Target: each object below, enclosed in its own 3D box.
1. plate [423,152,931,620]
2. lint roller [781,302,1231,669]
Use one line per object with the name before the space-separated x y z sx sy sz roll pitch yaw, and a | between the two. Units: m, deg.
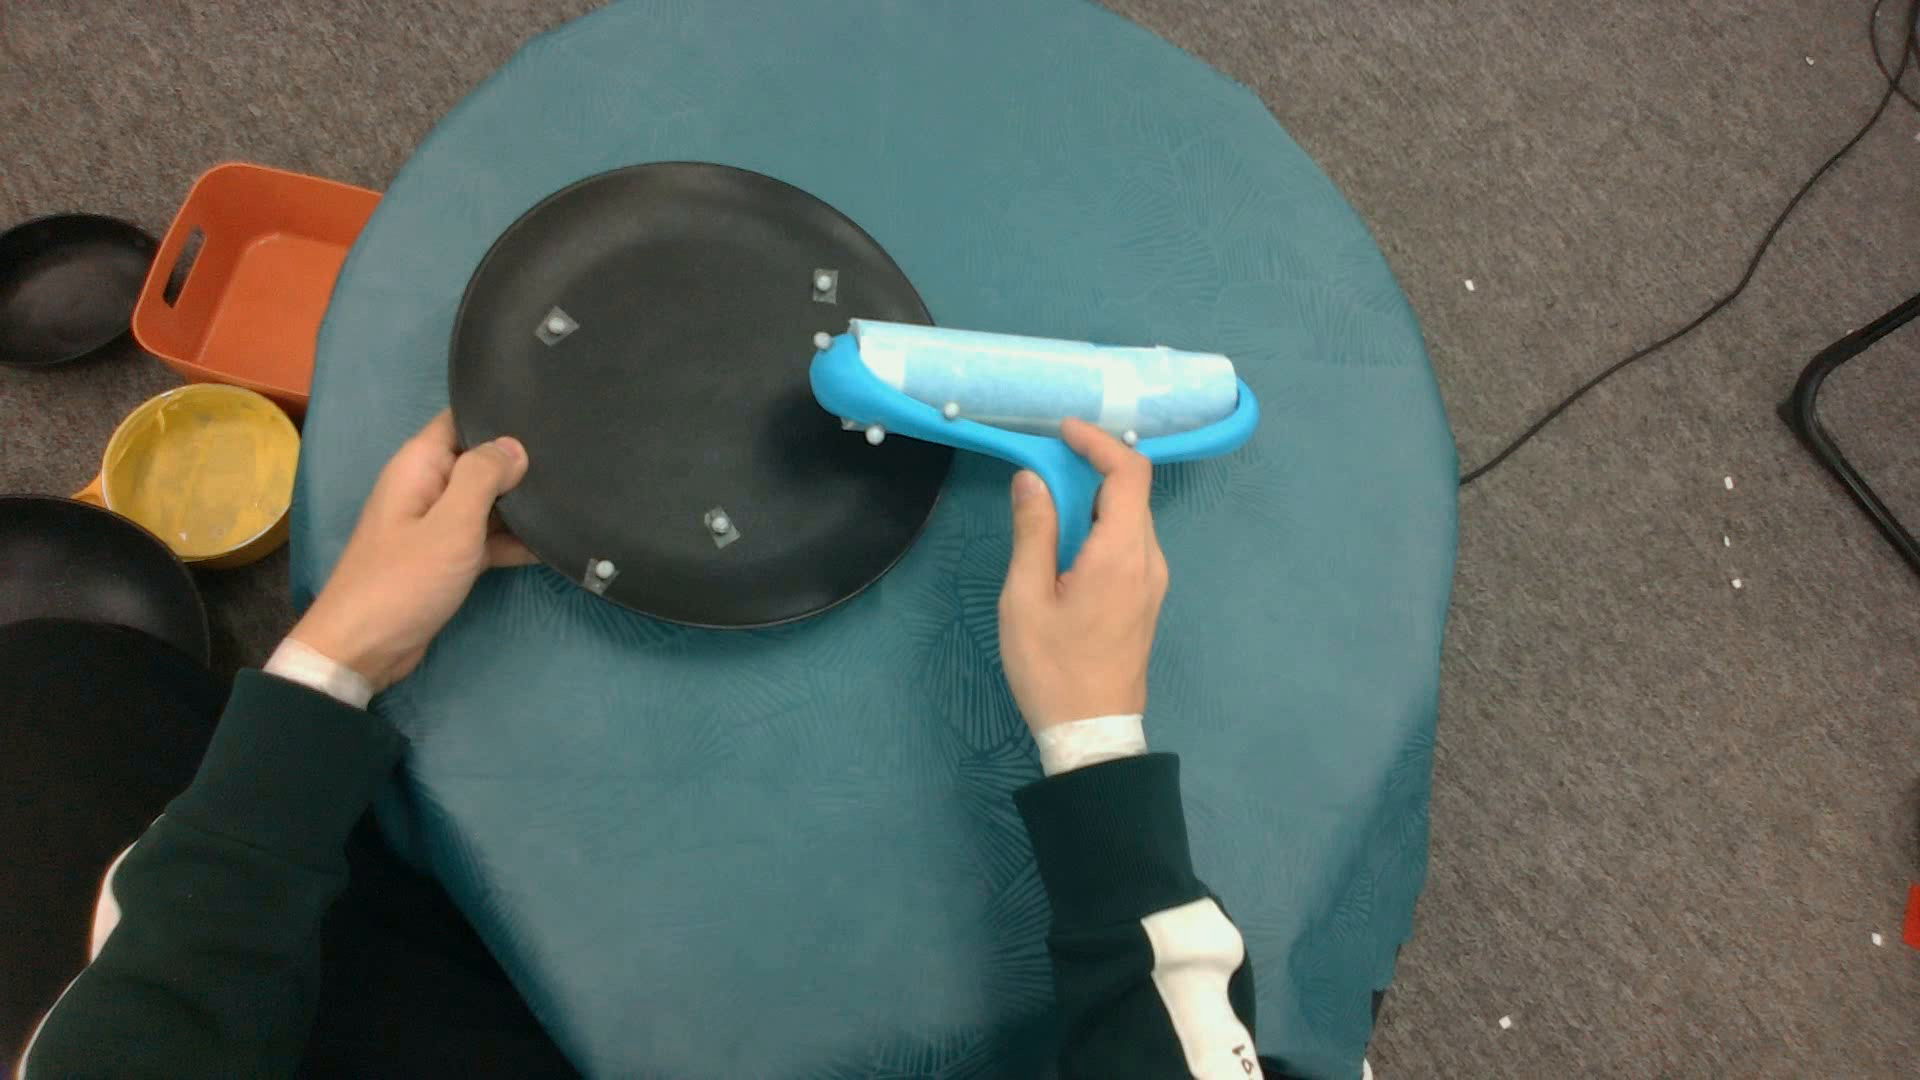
plate | -0.132 -0.077 0.673 0.245 0.023 0.245 6 71 -19
lint roller | 0.035 -0.033 0.659 0.229 0.067 0.181 -2 66 -19
